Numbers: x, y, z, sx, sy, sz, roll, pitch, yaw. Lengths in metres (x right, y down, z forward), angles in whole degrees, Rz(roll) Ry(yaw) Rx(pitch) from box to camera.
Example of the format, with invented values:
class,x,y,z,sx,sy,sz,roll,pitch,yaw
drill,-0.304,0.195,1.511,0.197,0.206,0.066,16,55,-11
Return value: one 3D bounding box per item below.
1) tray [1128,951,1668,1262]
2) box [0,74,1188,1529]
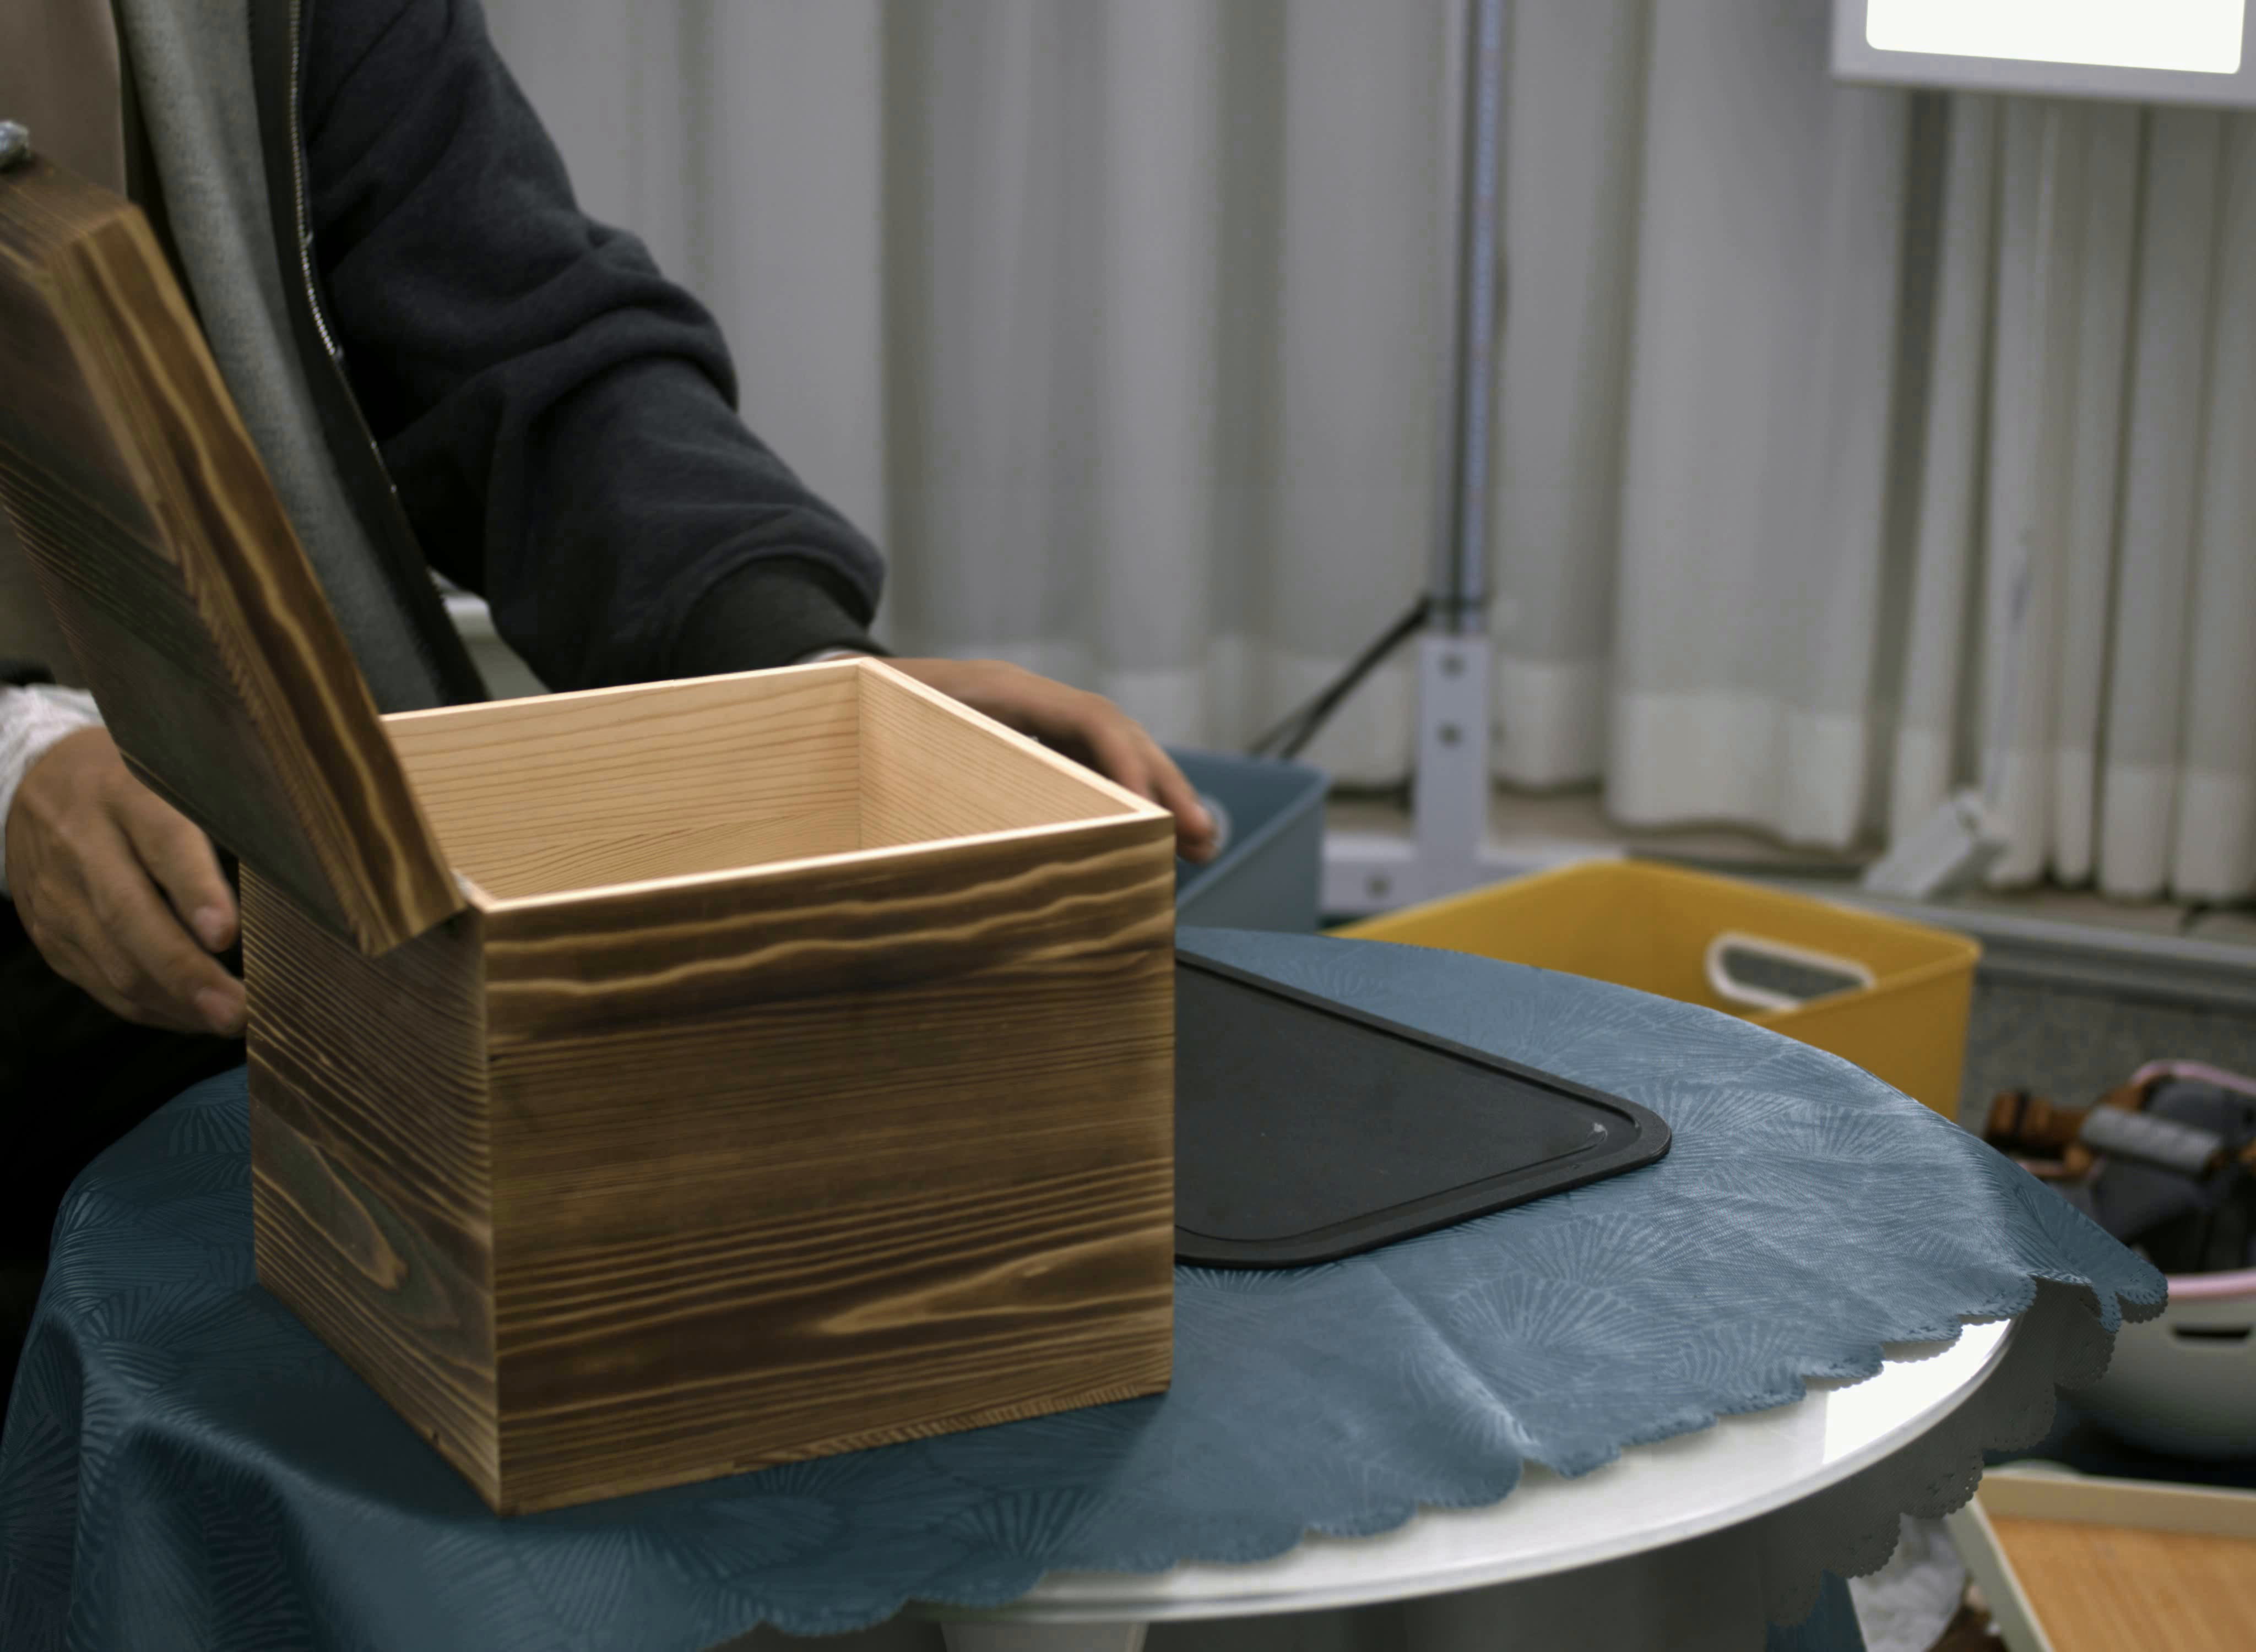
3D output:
class,x,y,z,sx,sy,sz,roll,pitch,yaw
tray,0.005,0.083,1.717,0.212,0.010,0.321,-13,20,-40
box,-0.165,-0.021,1.421,0.323,0.378,0.206,-8,19,-27
